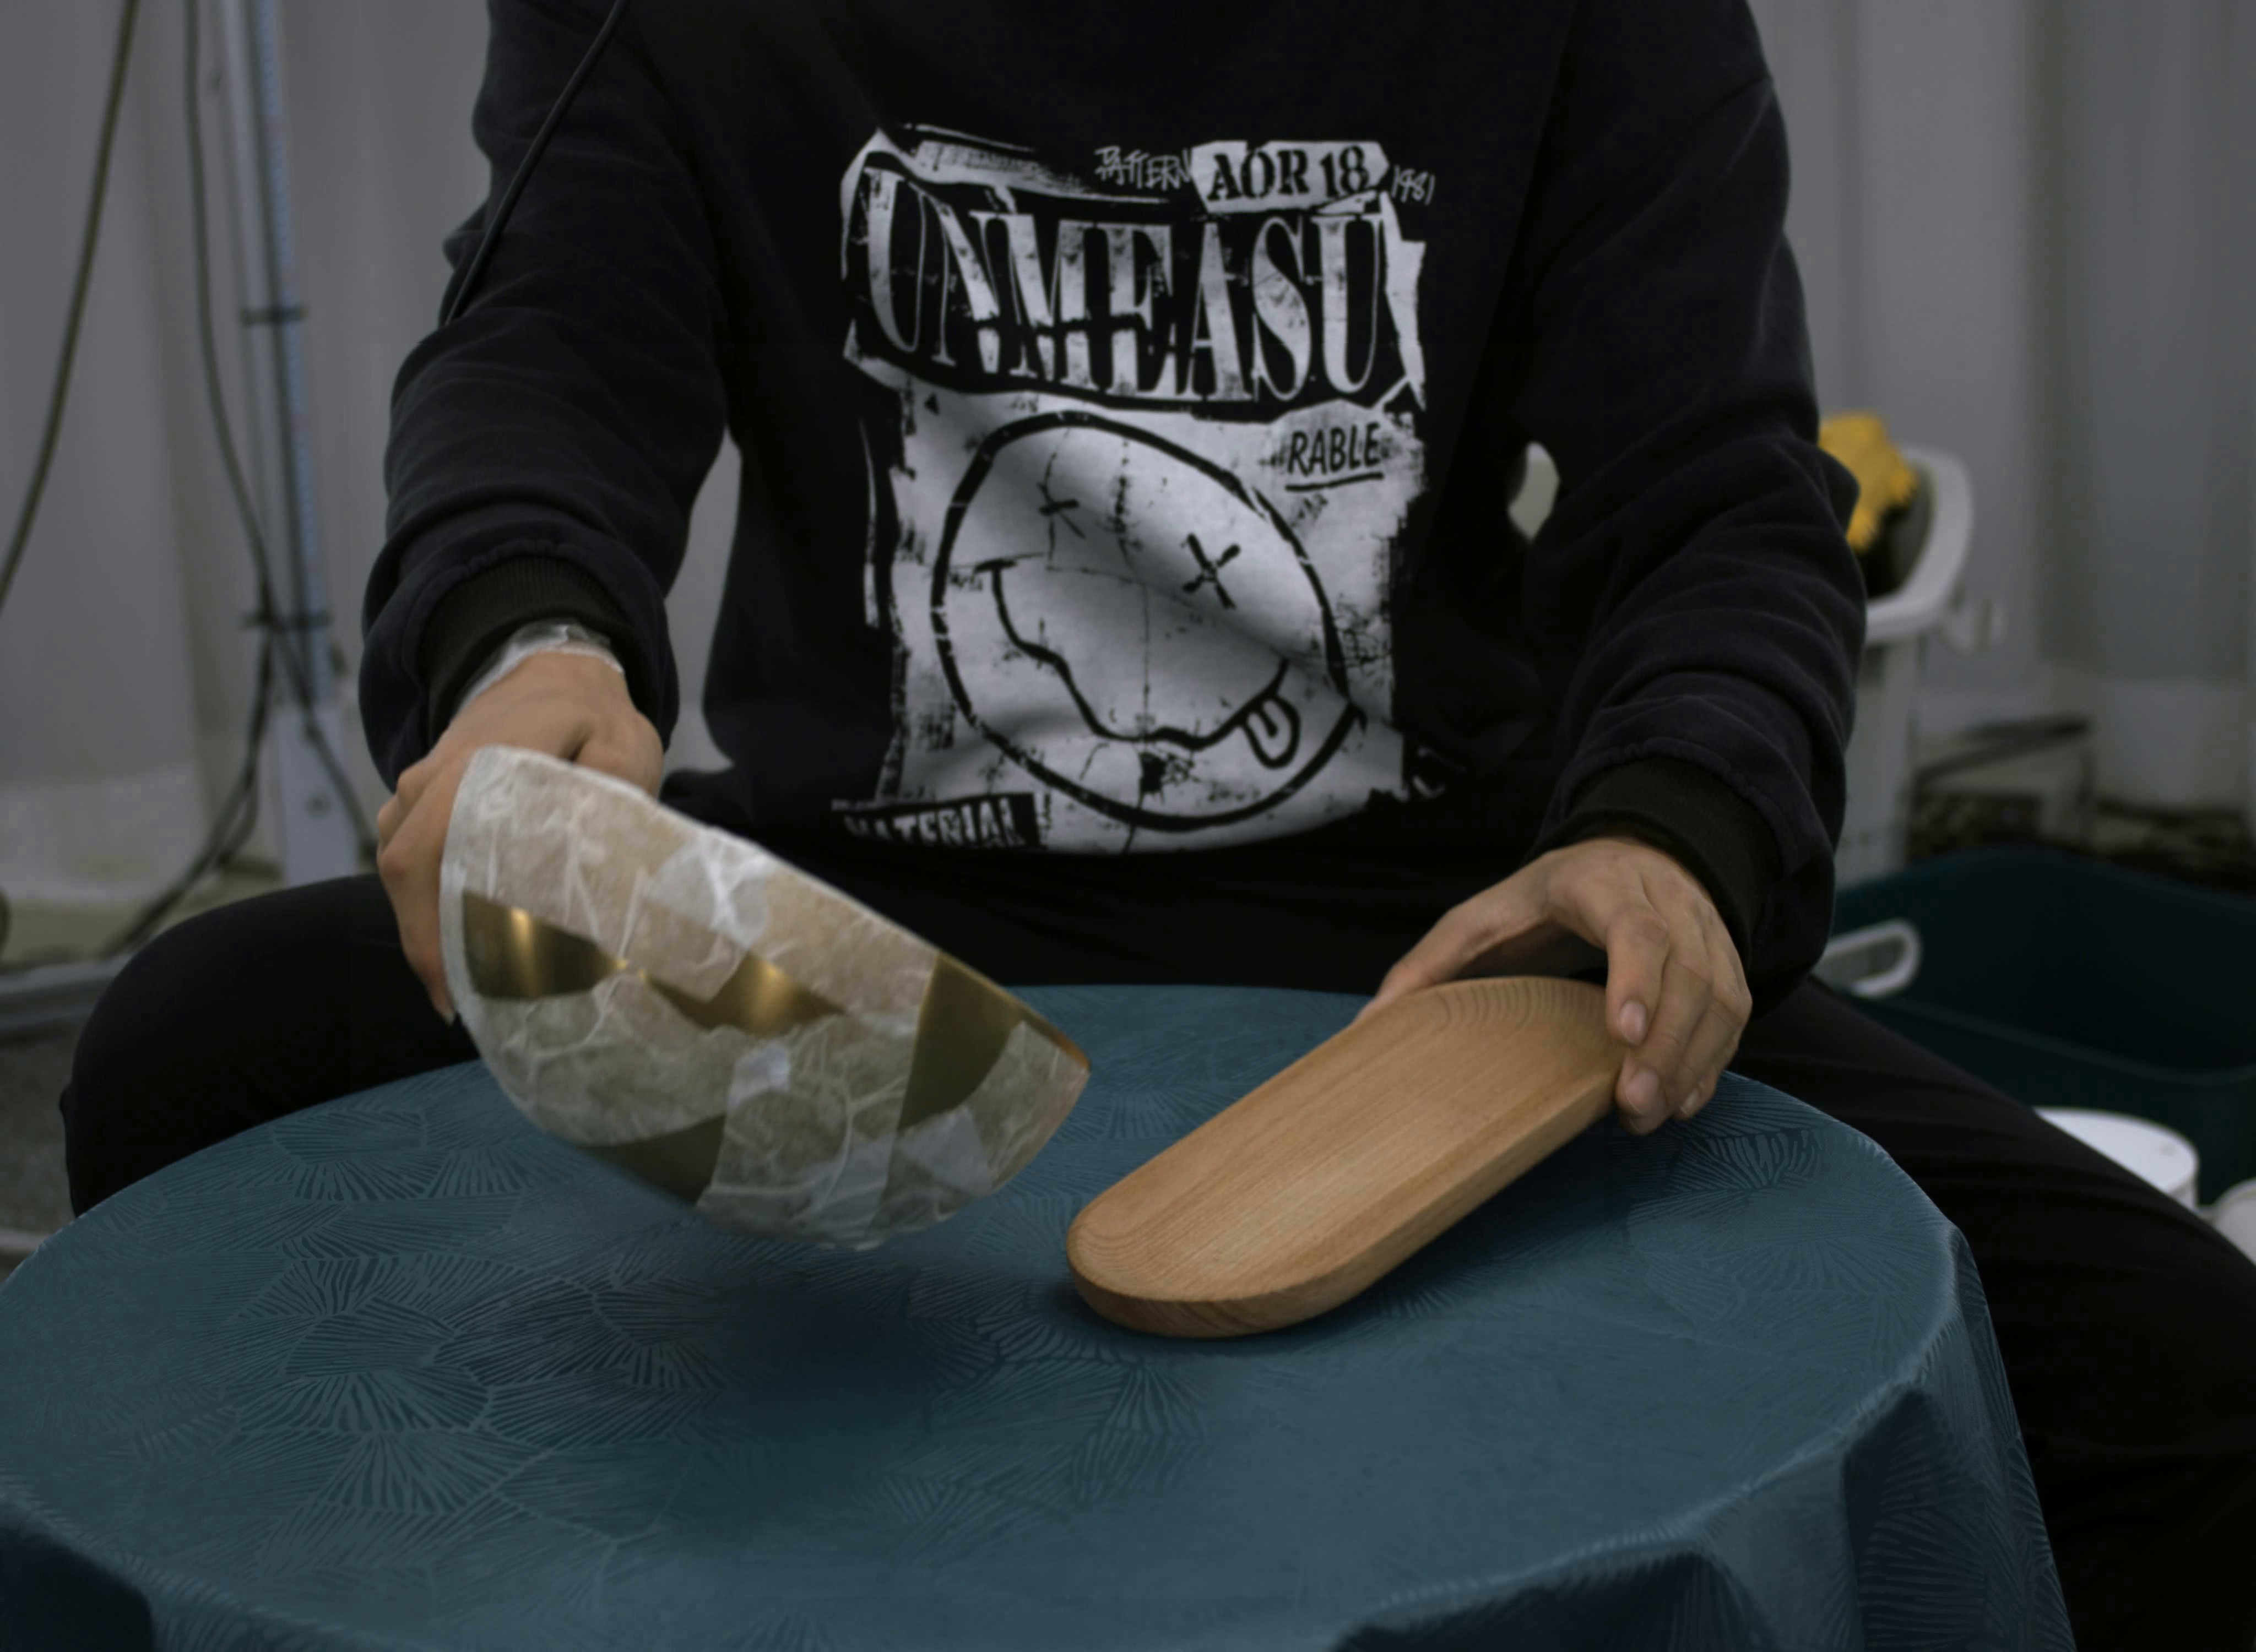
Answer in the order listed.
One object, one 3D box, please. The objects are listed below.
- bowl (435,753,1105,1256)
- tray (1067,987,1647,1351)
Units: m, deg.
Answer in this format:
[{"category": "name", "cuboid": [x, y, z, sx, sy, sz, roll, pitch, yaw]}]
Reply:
[{"category": "bowl", "cuboid": [-0.115, 0.067, 1.579, 0.214, 0.095, 0.213, 26, -9, 4]}, {"category": "tray", "cuboid": [0.072, 0.102, 1.661, 0.102, 0.020, 0.232, 6, 27, 39]}]
